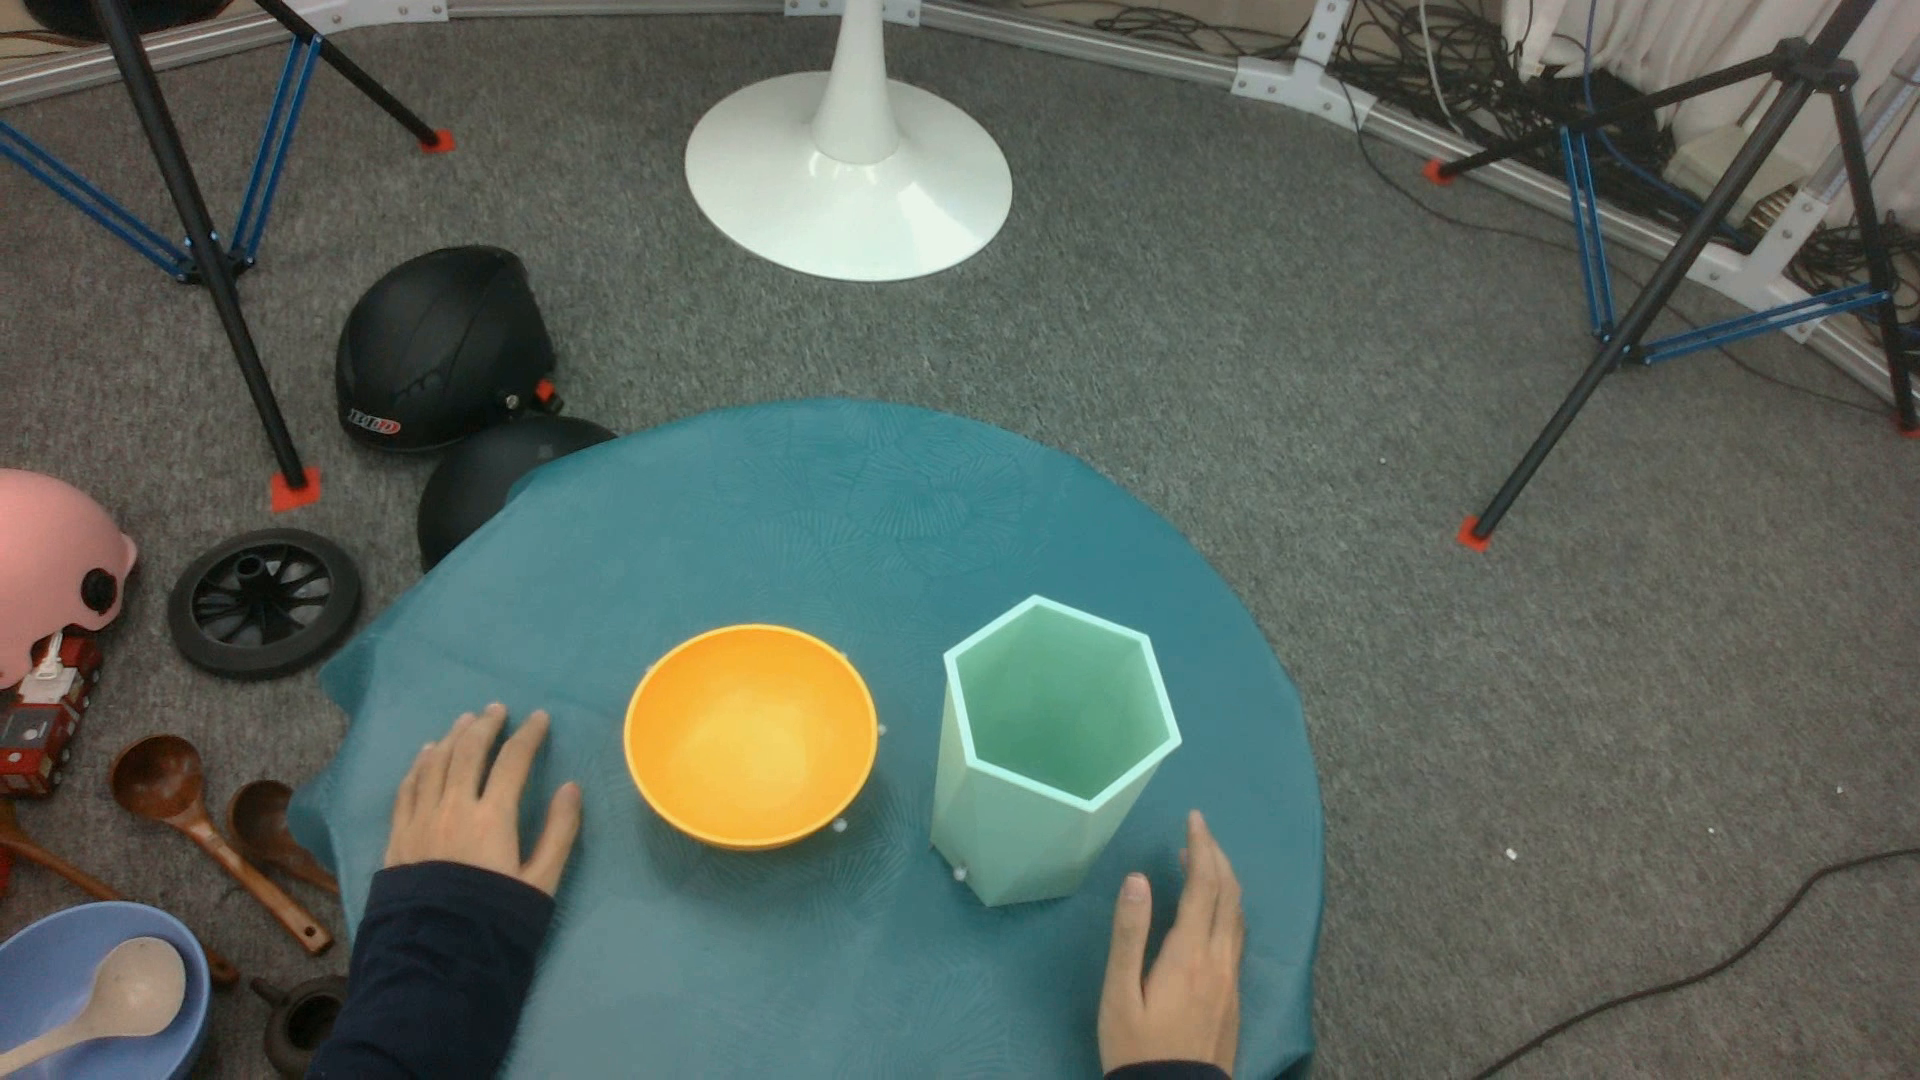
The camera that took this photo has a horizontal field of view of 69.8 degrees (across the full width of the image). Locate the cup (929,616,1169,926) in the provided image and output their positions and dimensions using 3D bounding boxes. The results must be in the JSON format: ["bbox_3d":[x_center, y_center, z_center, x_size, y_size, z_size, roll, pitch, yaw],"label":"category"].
[{"bbox_3d":[0.039,0.141,0.785,0.131,0.162,0.116,18,52,6],"label":"cup"}]

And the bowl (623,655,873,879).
[{"bbox_3d":[-0.125,0.145,0.827,0.145,0.060,0.146,3,53,-4],"label":"bowl"}]
